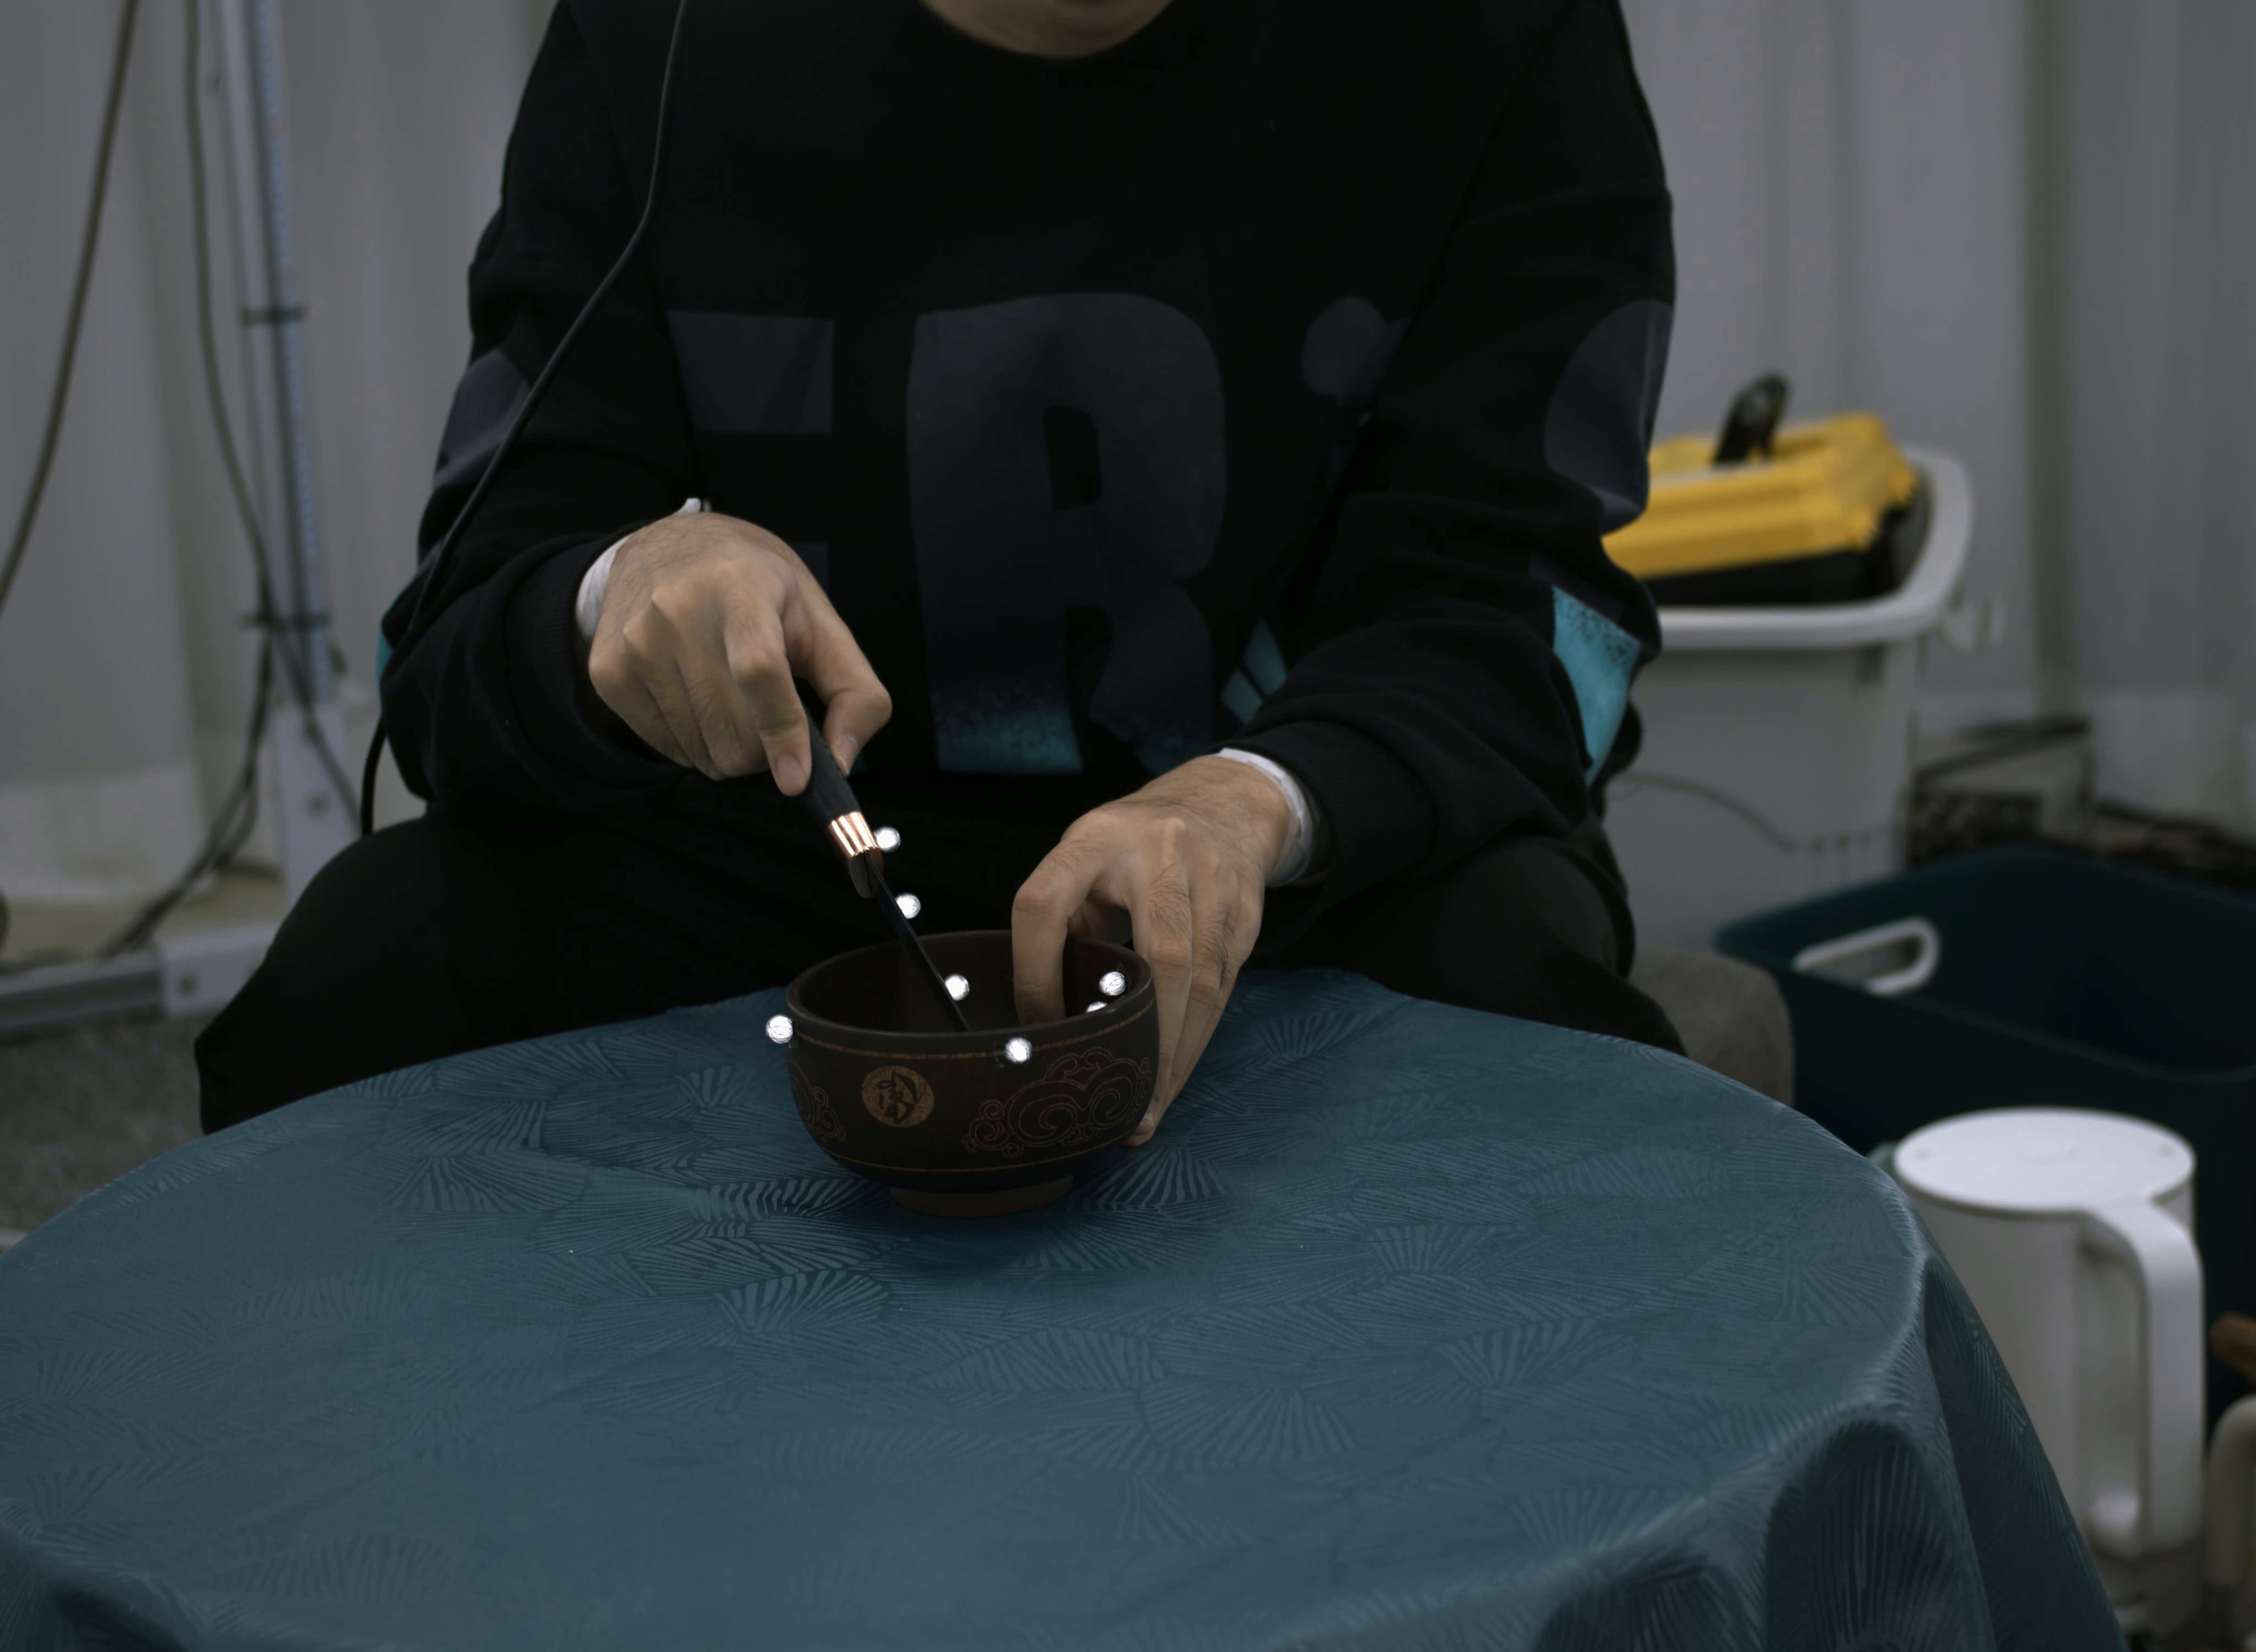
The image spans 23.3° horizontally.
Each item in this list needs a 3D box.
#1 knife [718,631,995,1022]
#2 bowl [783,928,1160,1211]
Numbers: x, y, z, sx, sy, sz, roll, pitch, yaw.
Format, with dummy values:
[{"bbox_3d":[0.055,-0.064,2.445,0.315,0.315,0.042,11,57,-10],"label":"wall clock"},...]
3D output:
[{"bbox_3d":[-0.078,0.016,1.760,0.026,0.017,0.228,10,36,-45],"label":"knife"},{"bbox_3d":[-0.048,0.080,1.712,0.117,0.069,0.119,-1,13,0],"label":"bowl"}]
